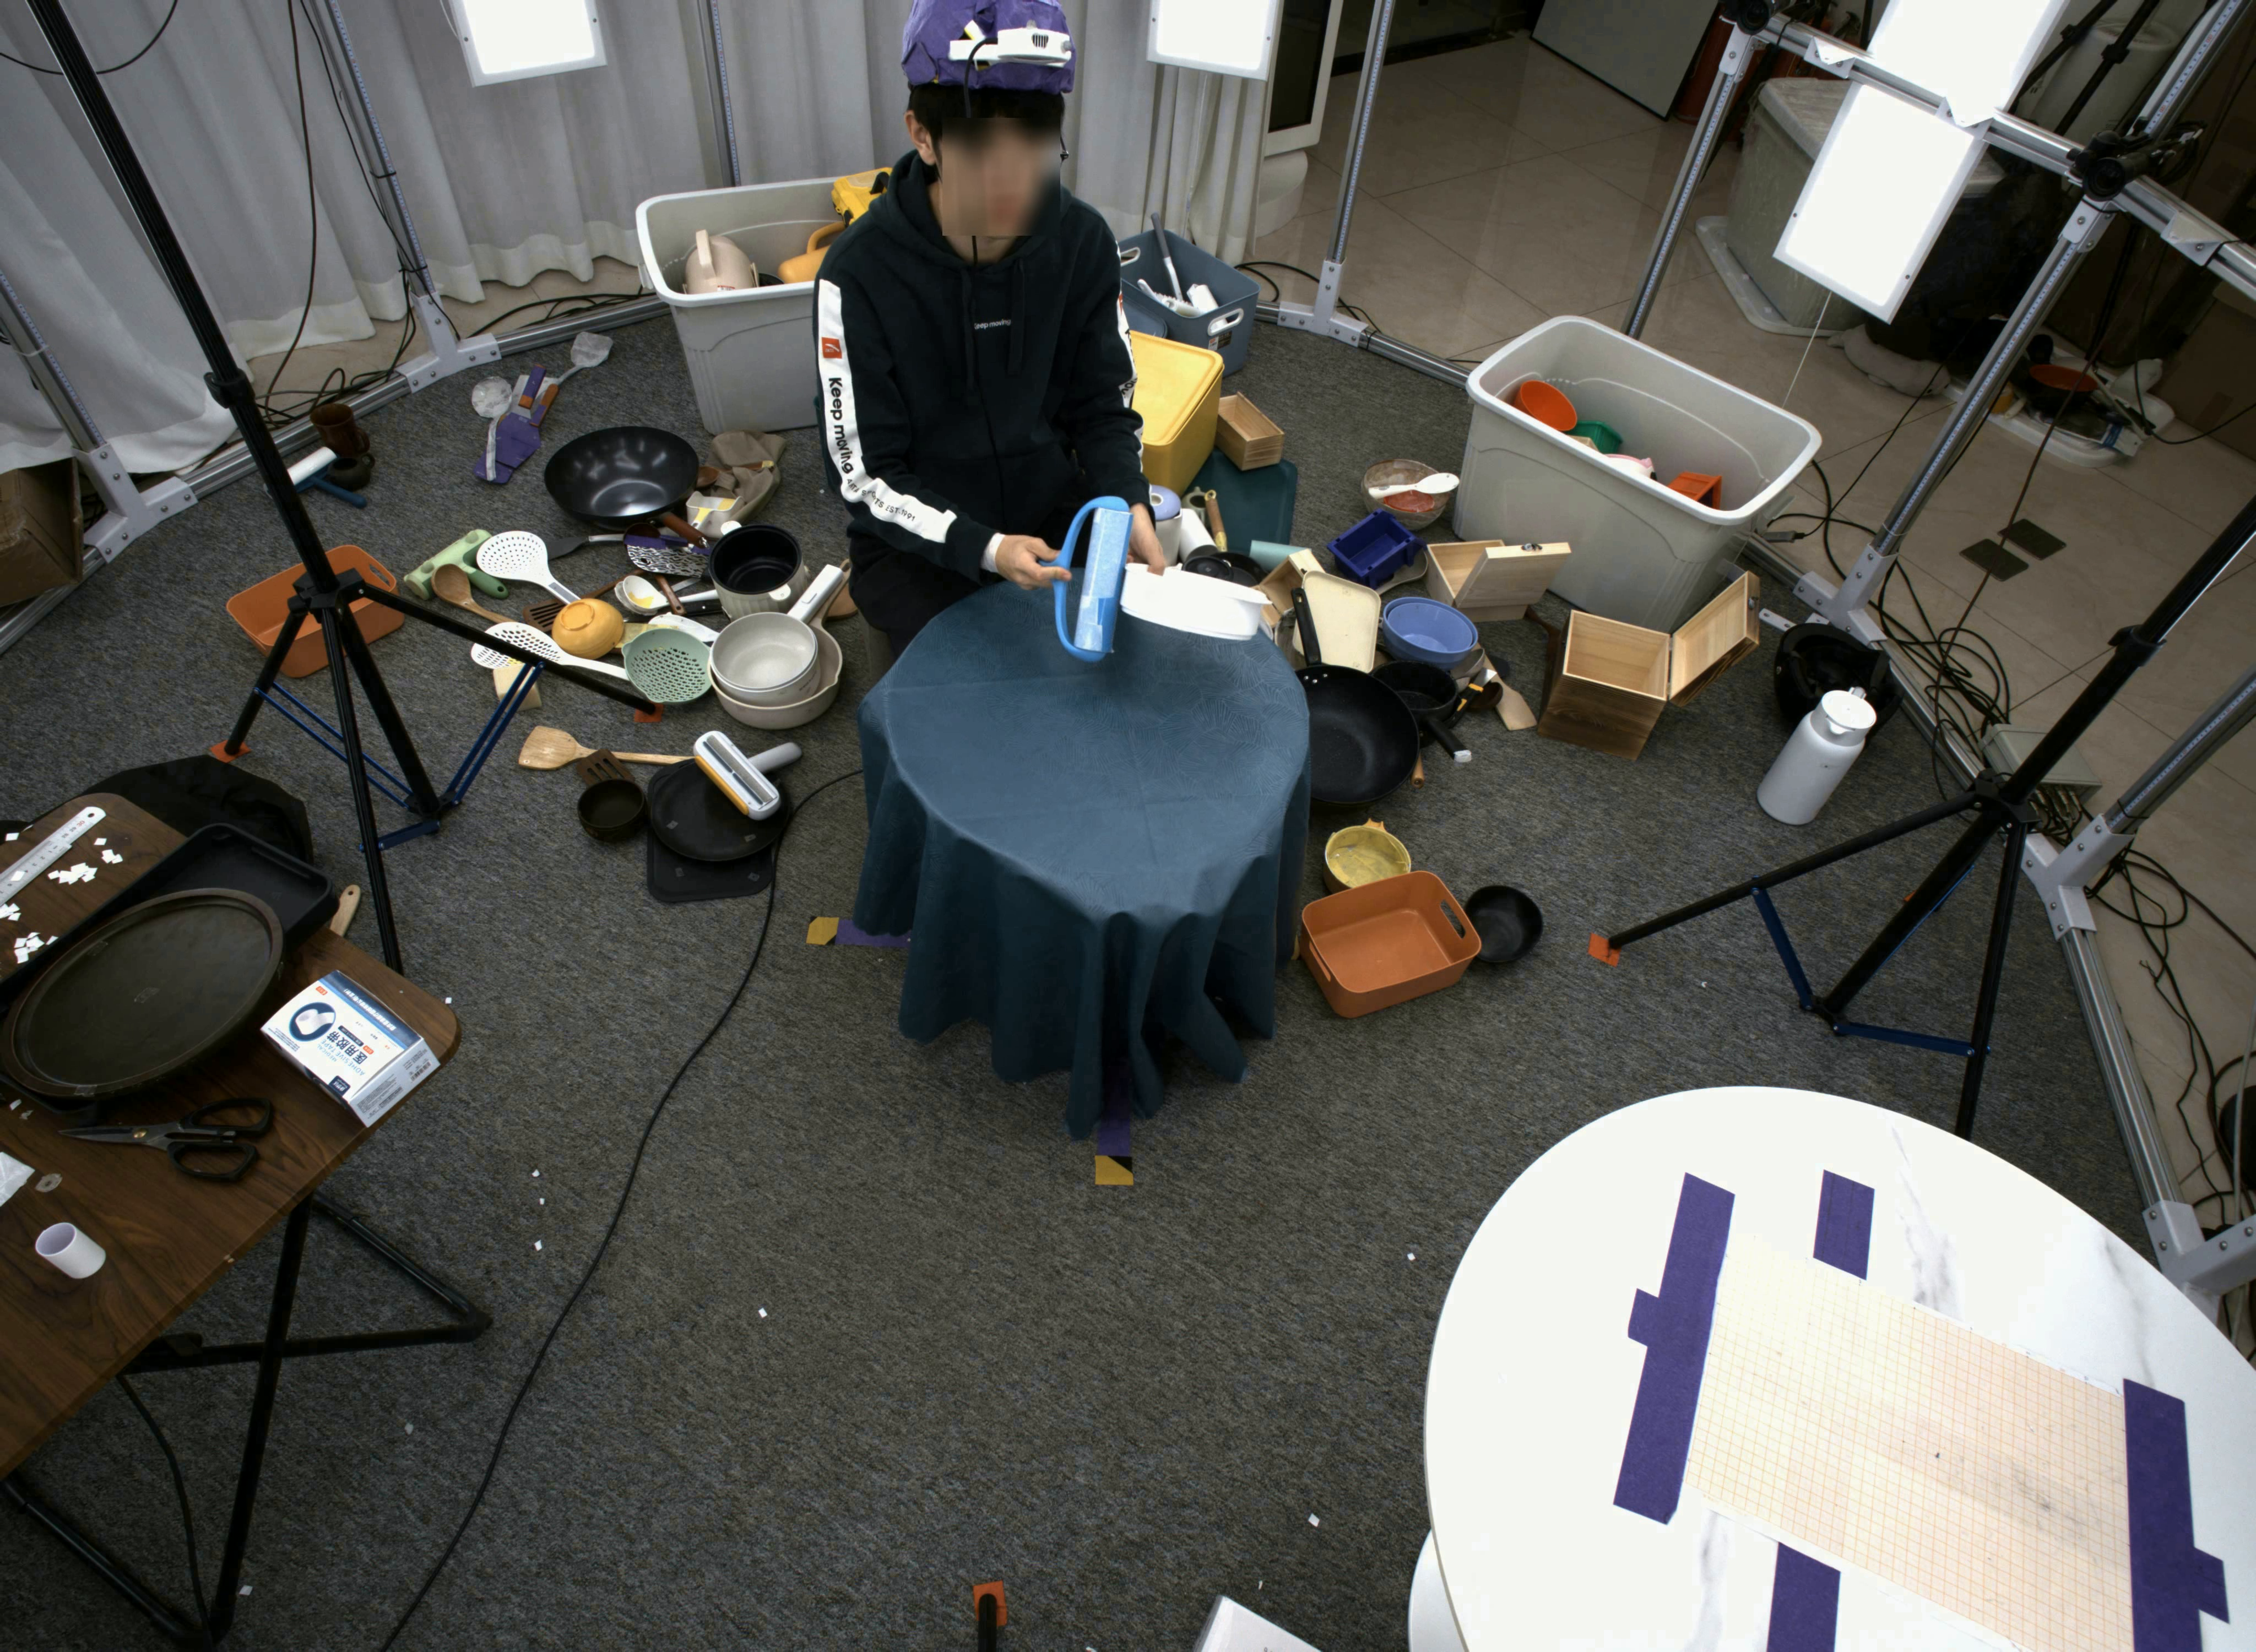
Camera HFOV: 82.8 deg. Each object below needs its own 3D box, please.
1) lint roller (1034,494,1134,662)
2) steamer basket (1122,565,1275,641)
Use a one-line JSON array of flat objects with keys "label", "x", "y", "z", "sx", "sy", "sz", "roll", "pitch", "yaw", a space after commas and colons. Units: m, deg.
[{"label": "lint roller", "x": -0.079, "y": -0.352, "z": 1.806, "sx": 0.182, "sy": 0.227, "sz": 0.068, "roll": 13, "pitch": 13, "yaw": 35}, {"label": "steamer basket", "x": 0.090, "y": -0.306, "z": 1.774, "sx": 0.233, "sy": 0.068, "sz": 0.201, "roll": 21, "pitch": 16, "yaw": 33}]
